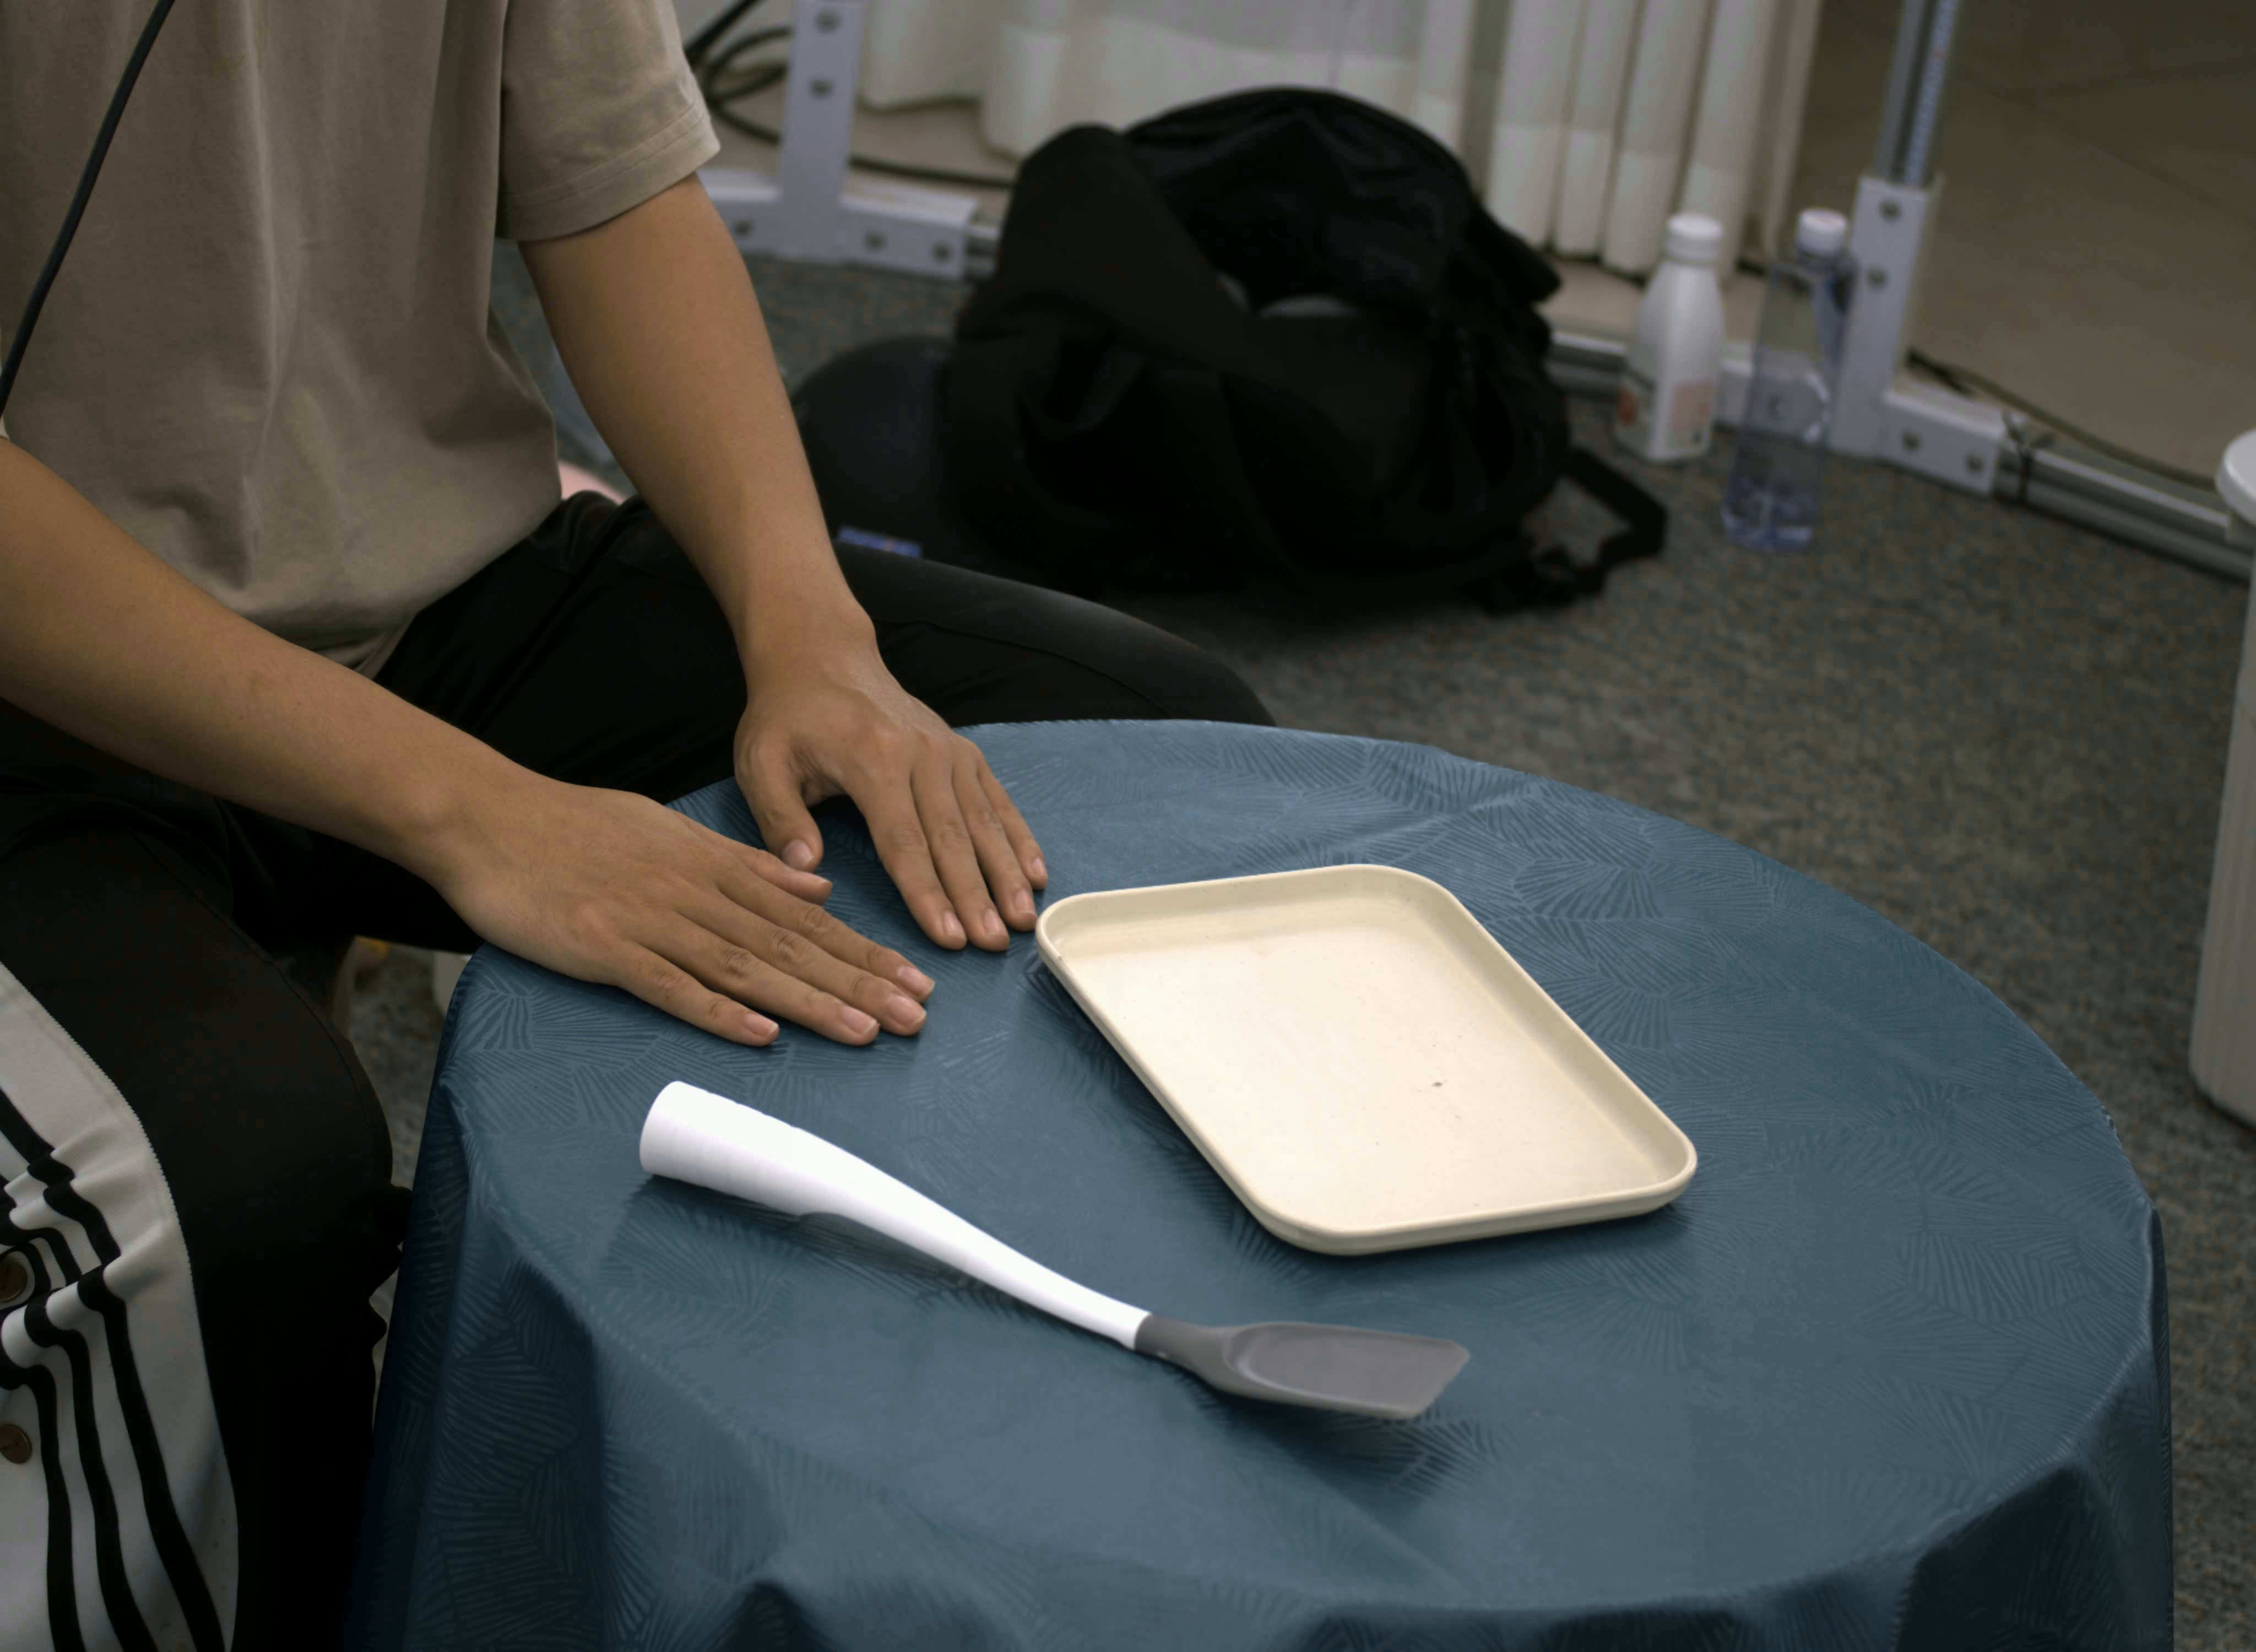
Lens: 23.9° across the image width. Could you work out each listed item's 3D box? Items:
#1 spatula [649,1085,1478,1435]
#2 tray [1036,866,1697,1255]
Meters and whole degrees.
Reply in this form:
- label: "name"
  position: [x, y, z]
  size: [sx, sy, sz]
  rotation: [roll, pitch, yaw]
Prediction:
- label: "spatula"
  position: [-0.025, 0.144, 1.722]
  size: [0.288, 0.032, 0.058]
  rotation: [19, 25, 21]
- label: "tray"
  position: [0.081, 0.082, 1.886]
  size: [0.170, 0.017, 0.242]
  rotation: [-5, 29, -24]
